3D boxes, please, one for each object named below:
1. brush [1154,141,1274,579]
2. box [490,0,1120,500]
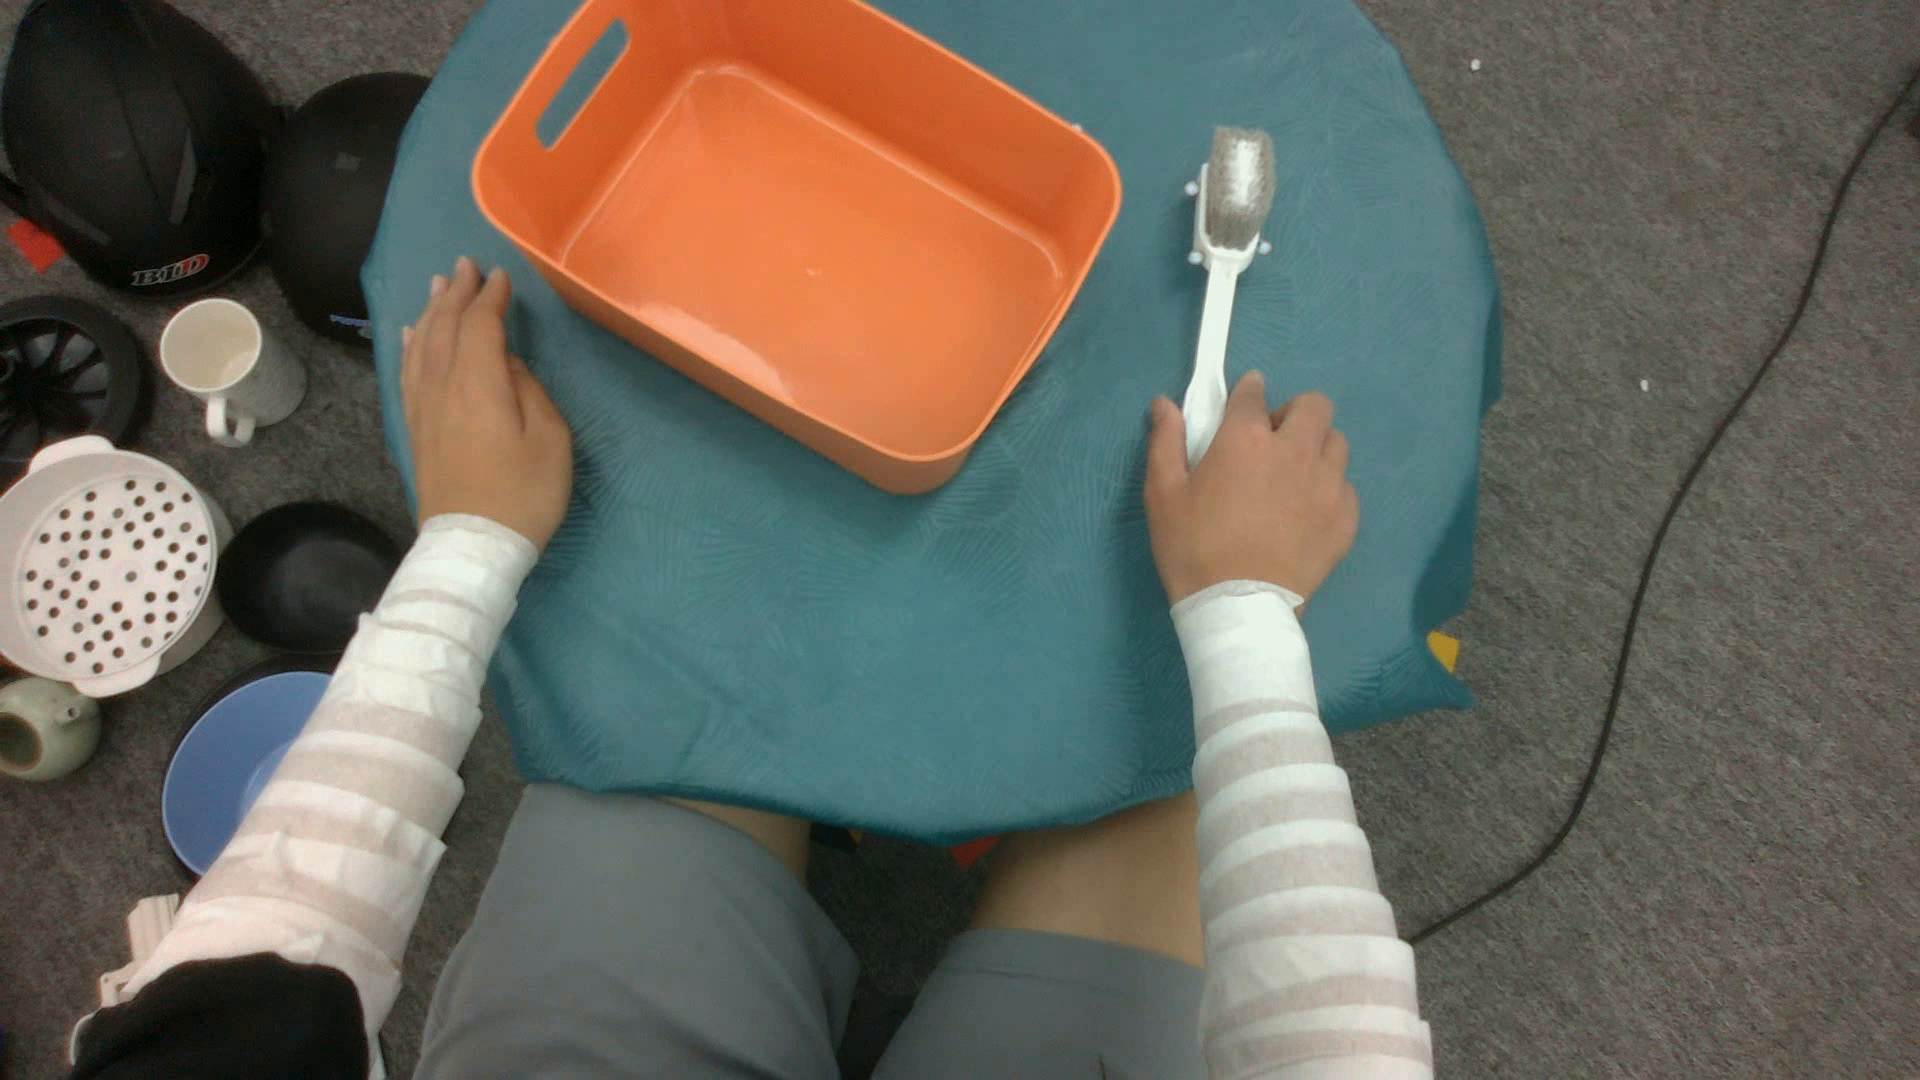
[{"bbox_3d":[0.135,-0.100,0.732,0.034,0.050,0.244,11,75,-1],"label":"brush"},{"bbox_3d":[-0.075,-0.151,0.704,0.273,0.102,0.200,29,75,5],"label":"box"}]
